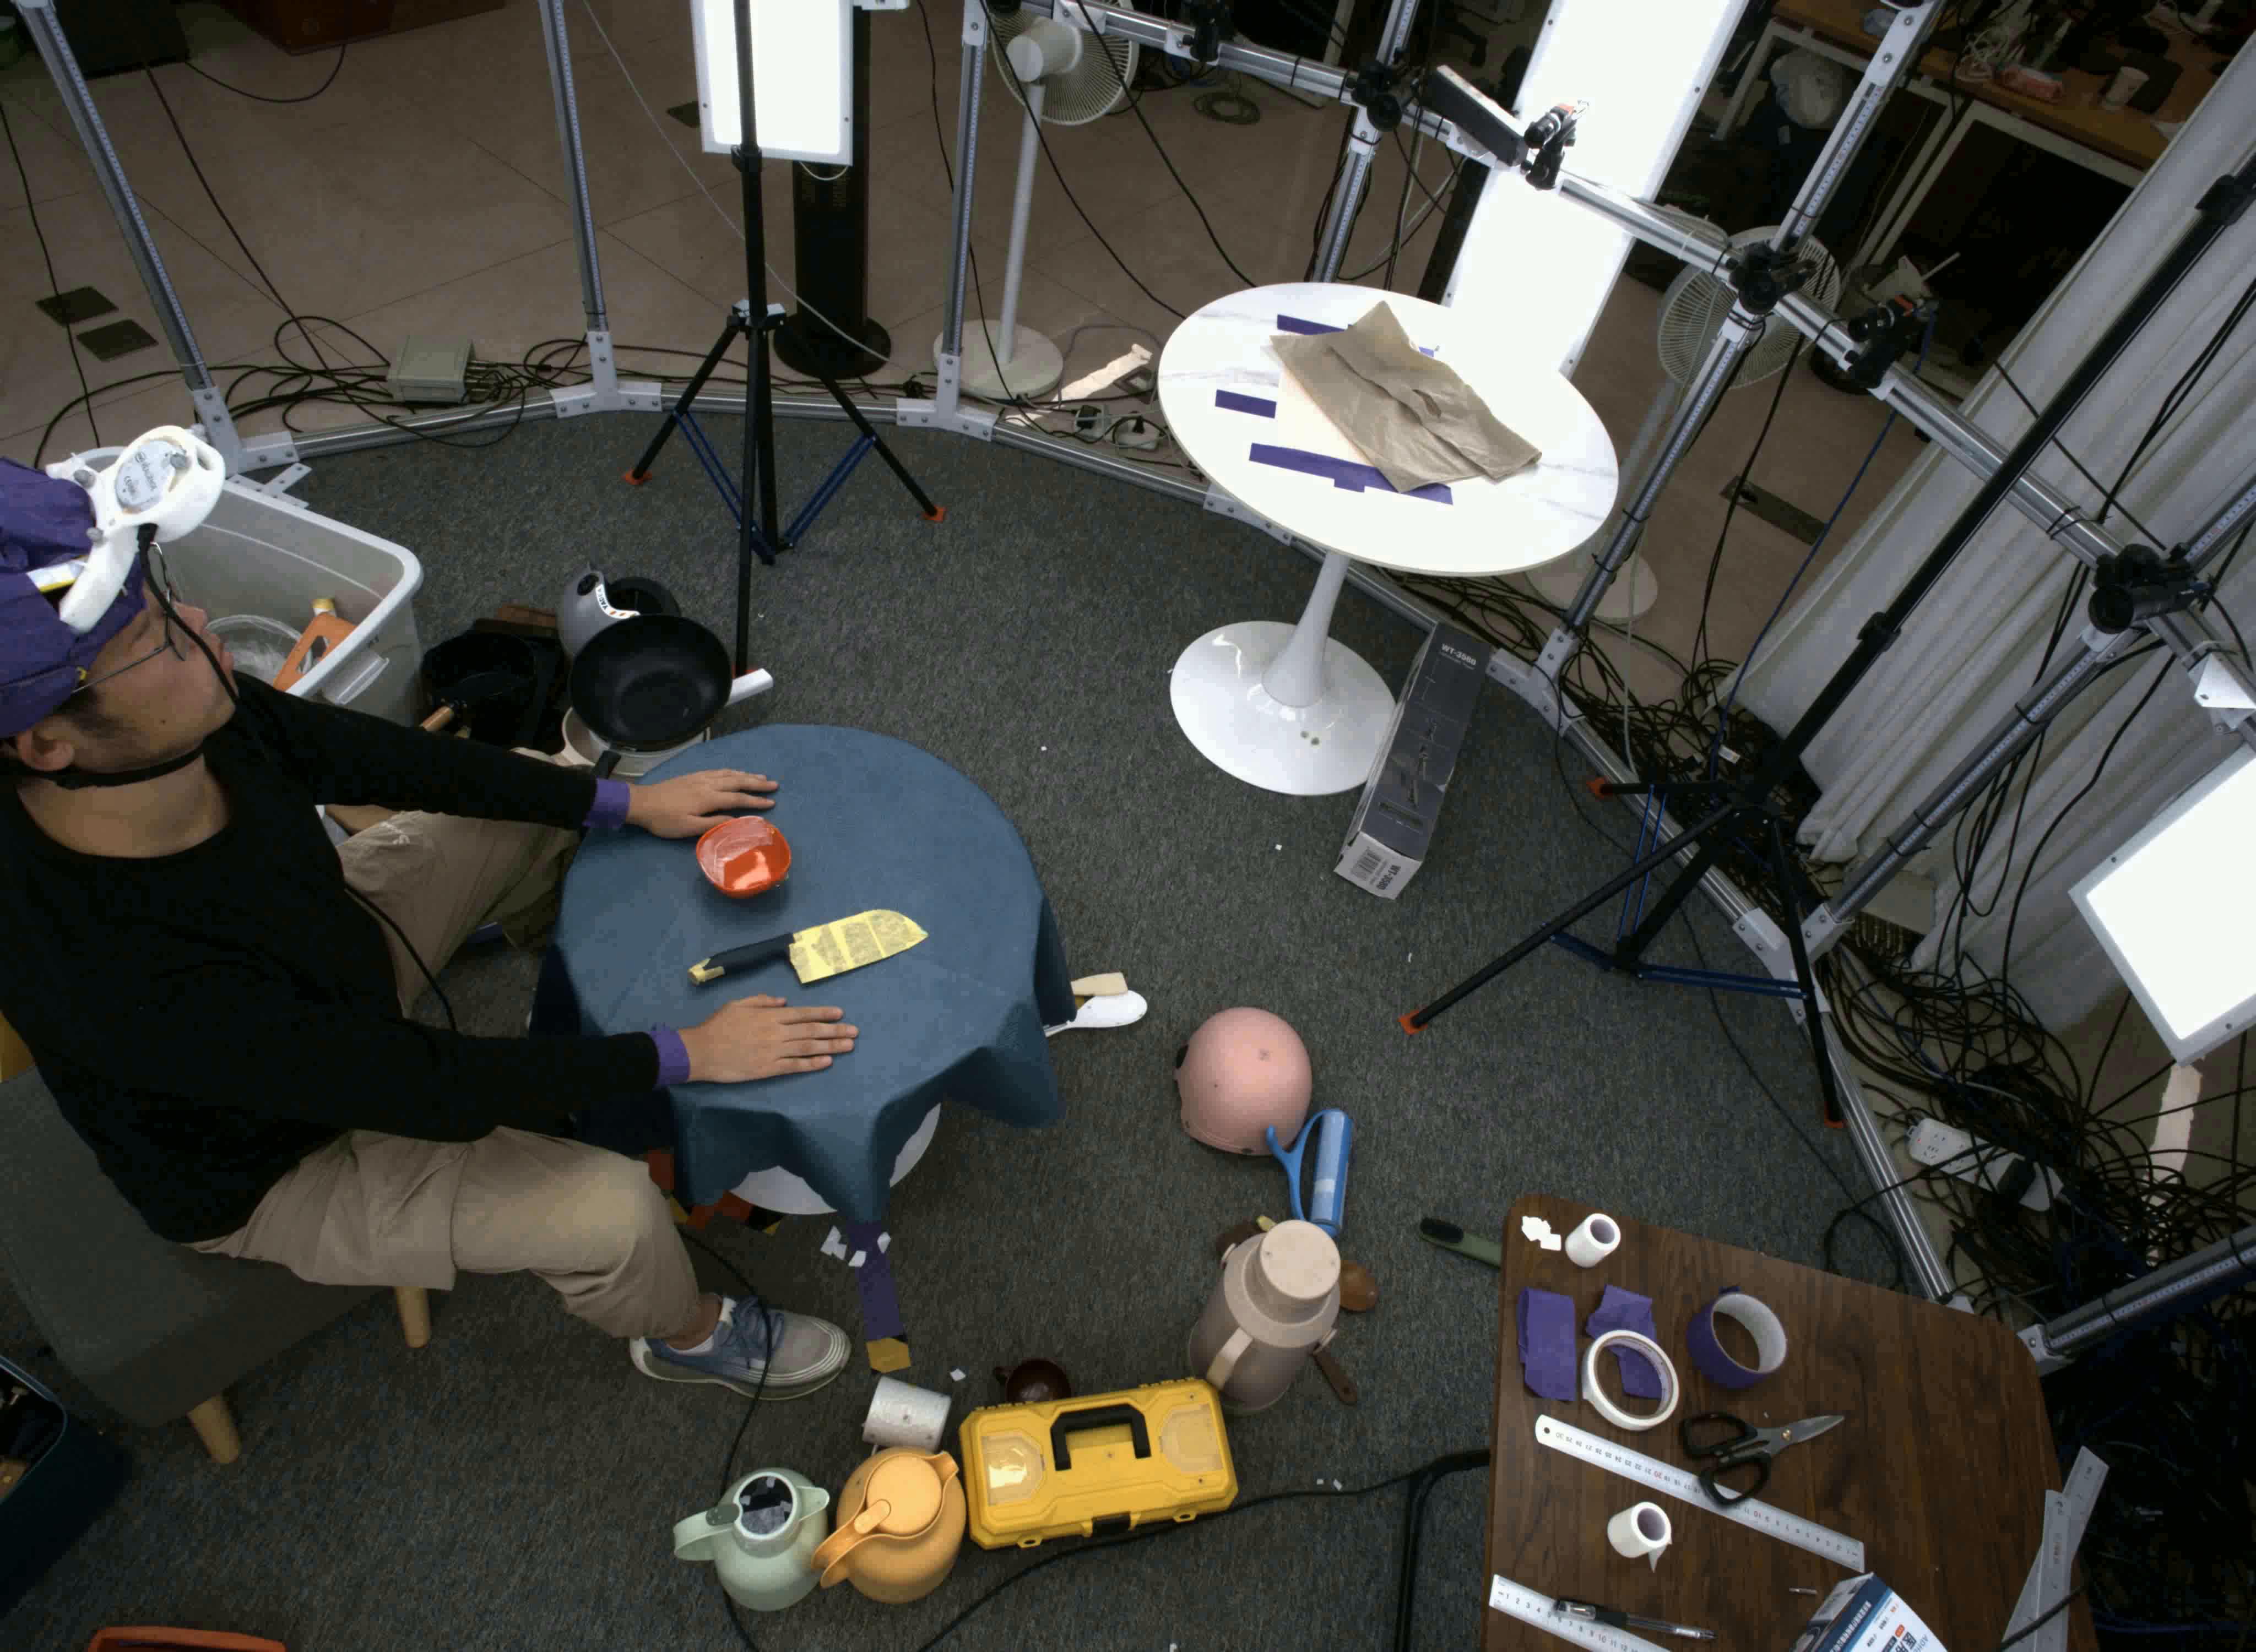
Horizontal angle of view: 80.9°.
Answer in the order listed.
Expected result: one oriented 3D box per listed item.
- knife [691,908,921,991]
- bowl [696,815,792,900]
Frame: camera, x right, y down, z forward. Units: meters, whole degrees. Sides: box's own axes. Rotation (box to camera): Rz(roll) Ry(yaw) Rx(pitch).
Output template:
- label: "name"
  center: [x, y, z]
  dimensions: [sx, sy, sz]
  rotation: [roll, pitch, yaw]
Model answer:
- label: "knife"
  center: [-0.392, 0.157, 1.603]
  dimensions: [0.291, 0.028, 0.079]
  rotation: [-15, 57, -25]
- label: "bowl"
  center: [-0.485, 0.046, 1.637]
  dimensions: [0.119, 0.052, 0.117]
  rotation: [9, 52, -10]
